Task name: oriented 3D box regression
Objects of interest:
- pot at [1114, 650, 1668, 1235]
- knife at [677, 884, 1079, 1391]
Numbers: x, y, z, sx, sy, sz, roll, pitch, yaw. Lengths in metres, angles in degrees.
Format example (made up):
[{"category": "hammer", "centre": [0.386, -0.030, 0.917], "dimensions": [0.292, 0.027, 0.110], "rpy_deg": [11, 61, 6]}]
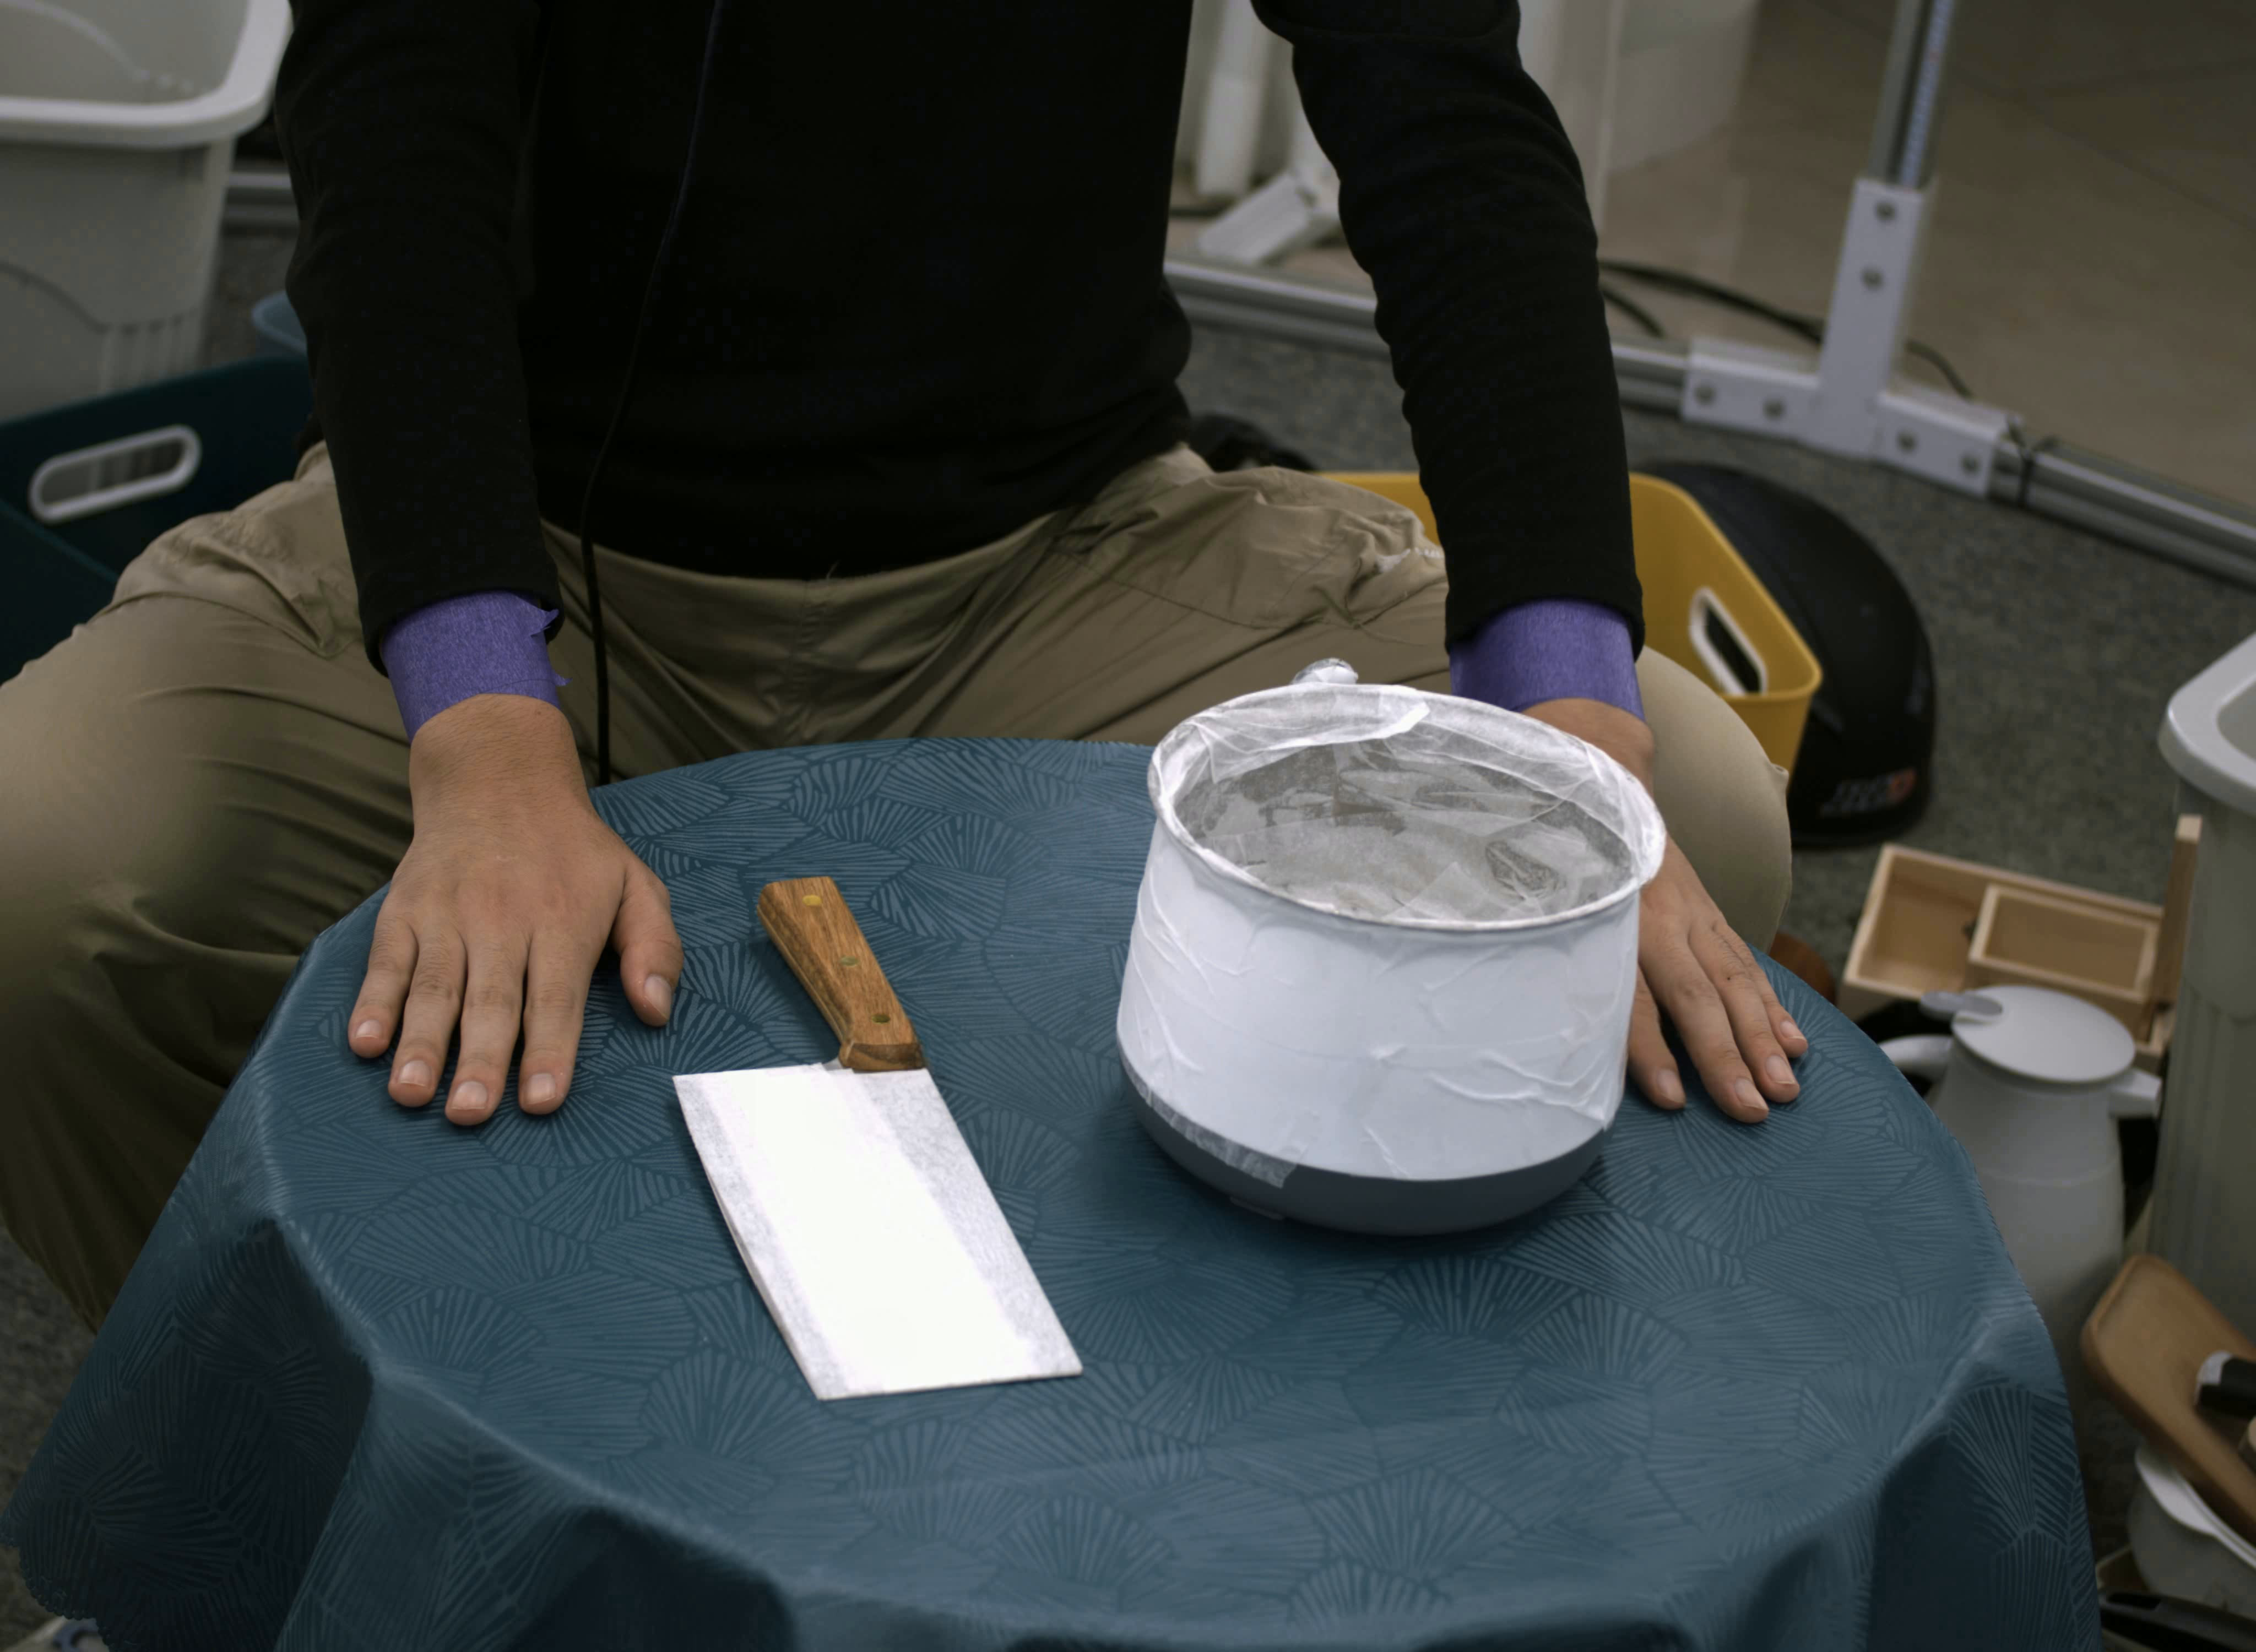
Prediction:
[{"category": "pot", "centre": [0.080, 0.033, 1.847], "dimensions": [0.177, 0.136, 0.236], "rpy_deg": [0, 29, -15]}, {"category": "knife", "centre": [-0.101, 0.103, 1.810], "dimensions": [0.092, 0.021, 0.308], "rpy_deg": [-2, 30, -19]}]
